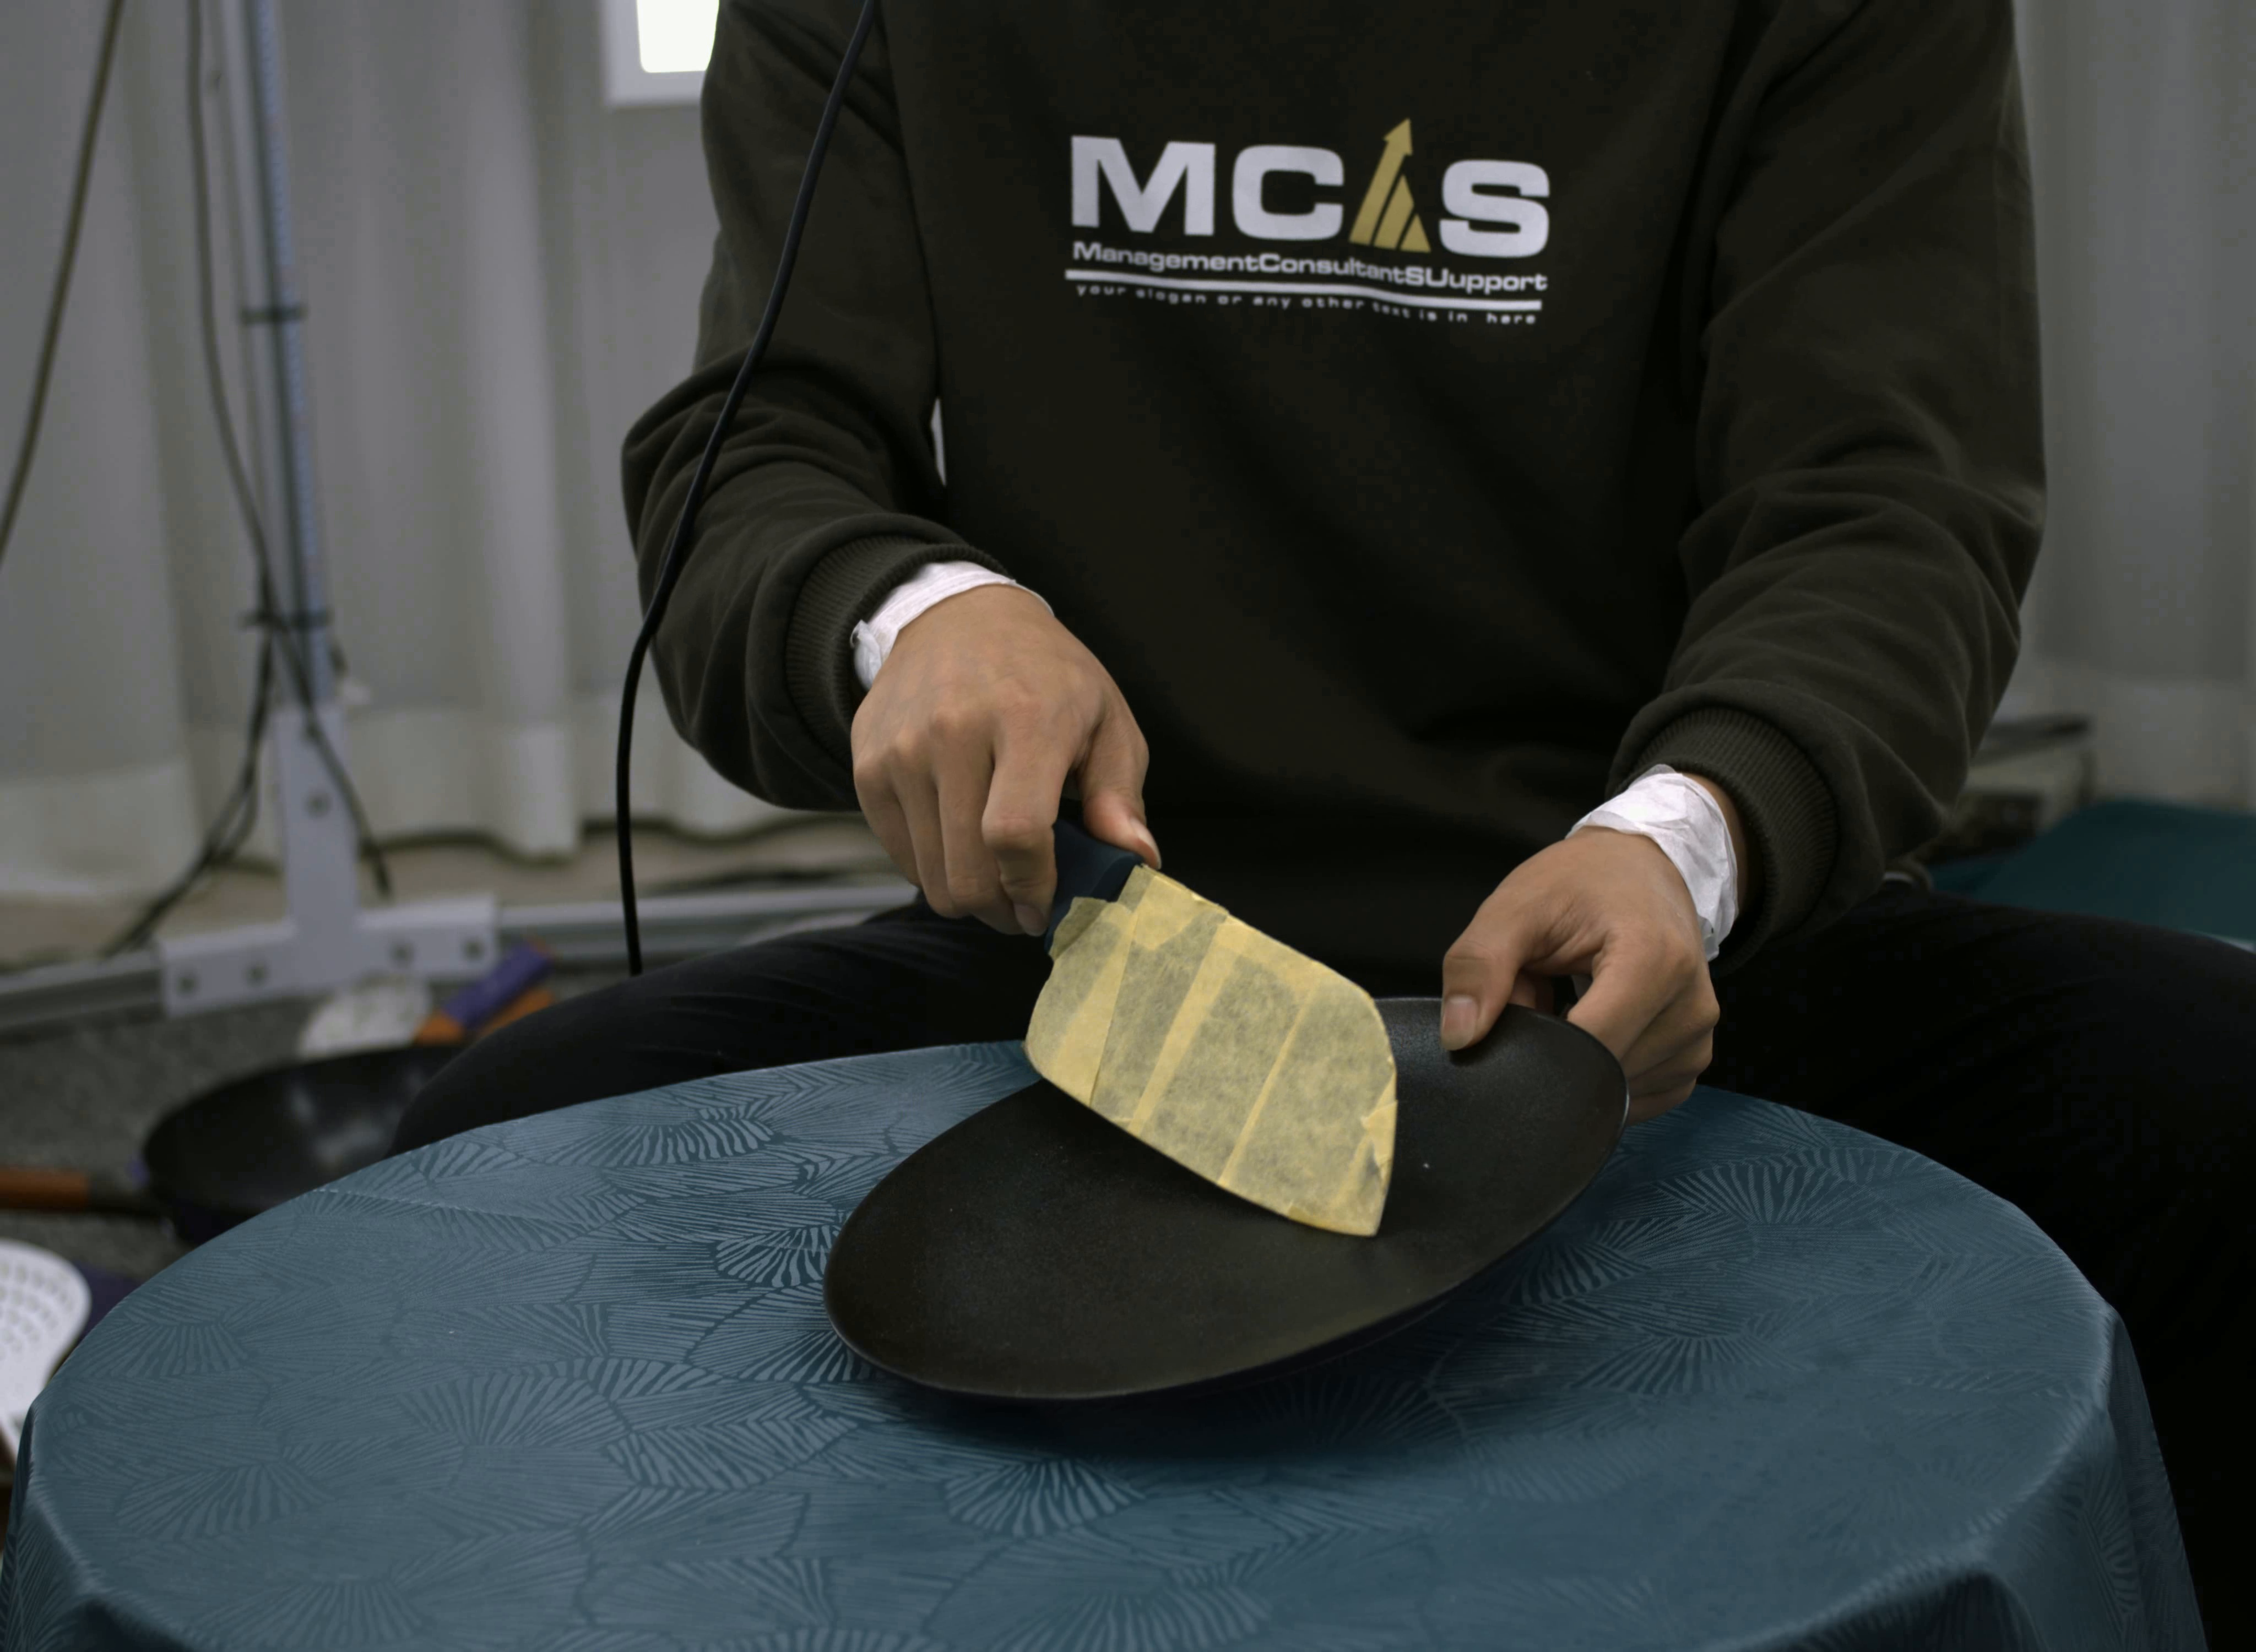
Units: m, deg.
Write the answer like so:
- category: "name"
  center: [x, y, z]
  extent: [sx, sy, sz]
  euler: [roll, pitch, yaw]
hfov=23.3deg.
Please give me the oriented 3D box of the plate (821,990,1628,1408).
- category: "plate"
  center: [0.029, 0.113, 1.593]
  extent: [0.244, 0.023, 0.247]
  euler: [-14, 21, 5]

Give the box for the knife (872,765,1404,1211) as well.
- category: "knife"
  center: [-0.003, 0.045, 1.672]
  extent: [0.027, 0.081, 0.292]
  euler: [28, 3, -40]
